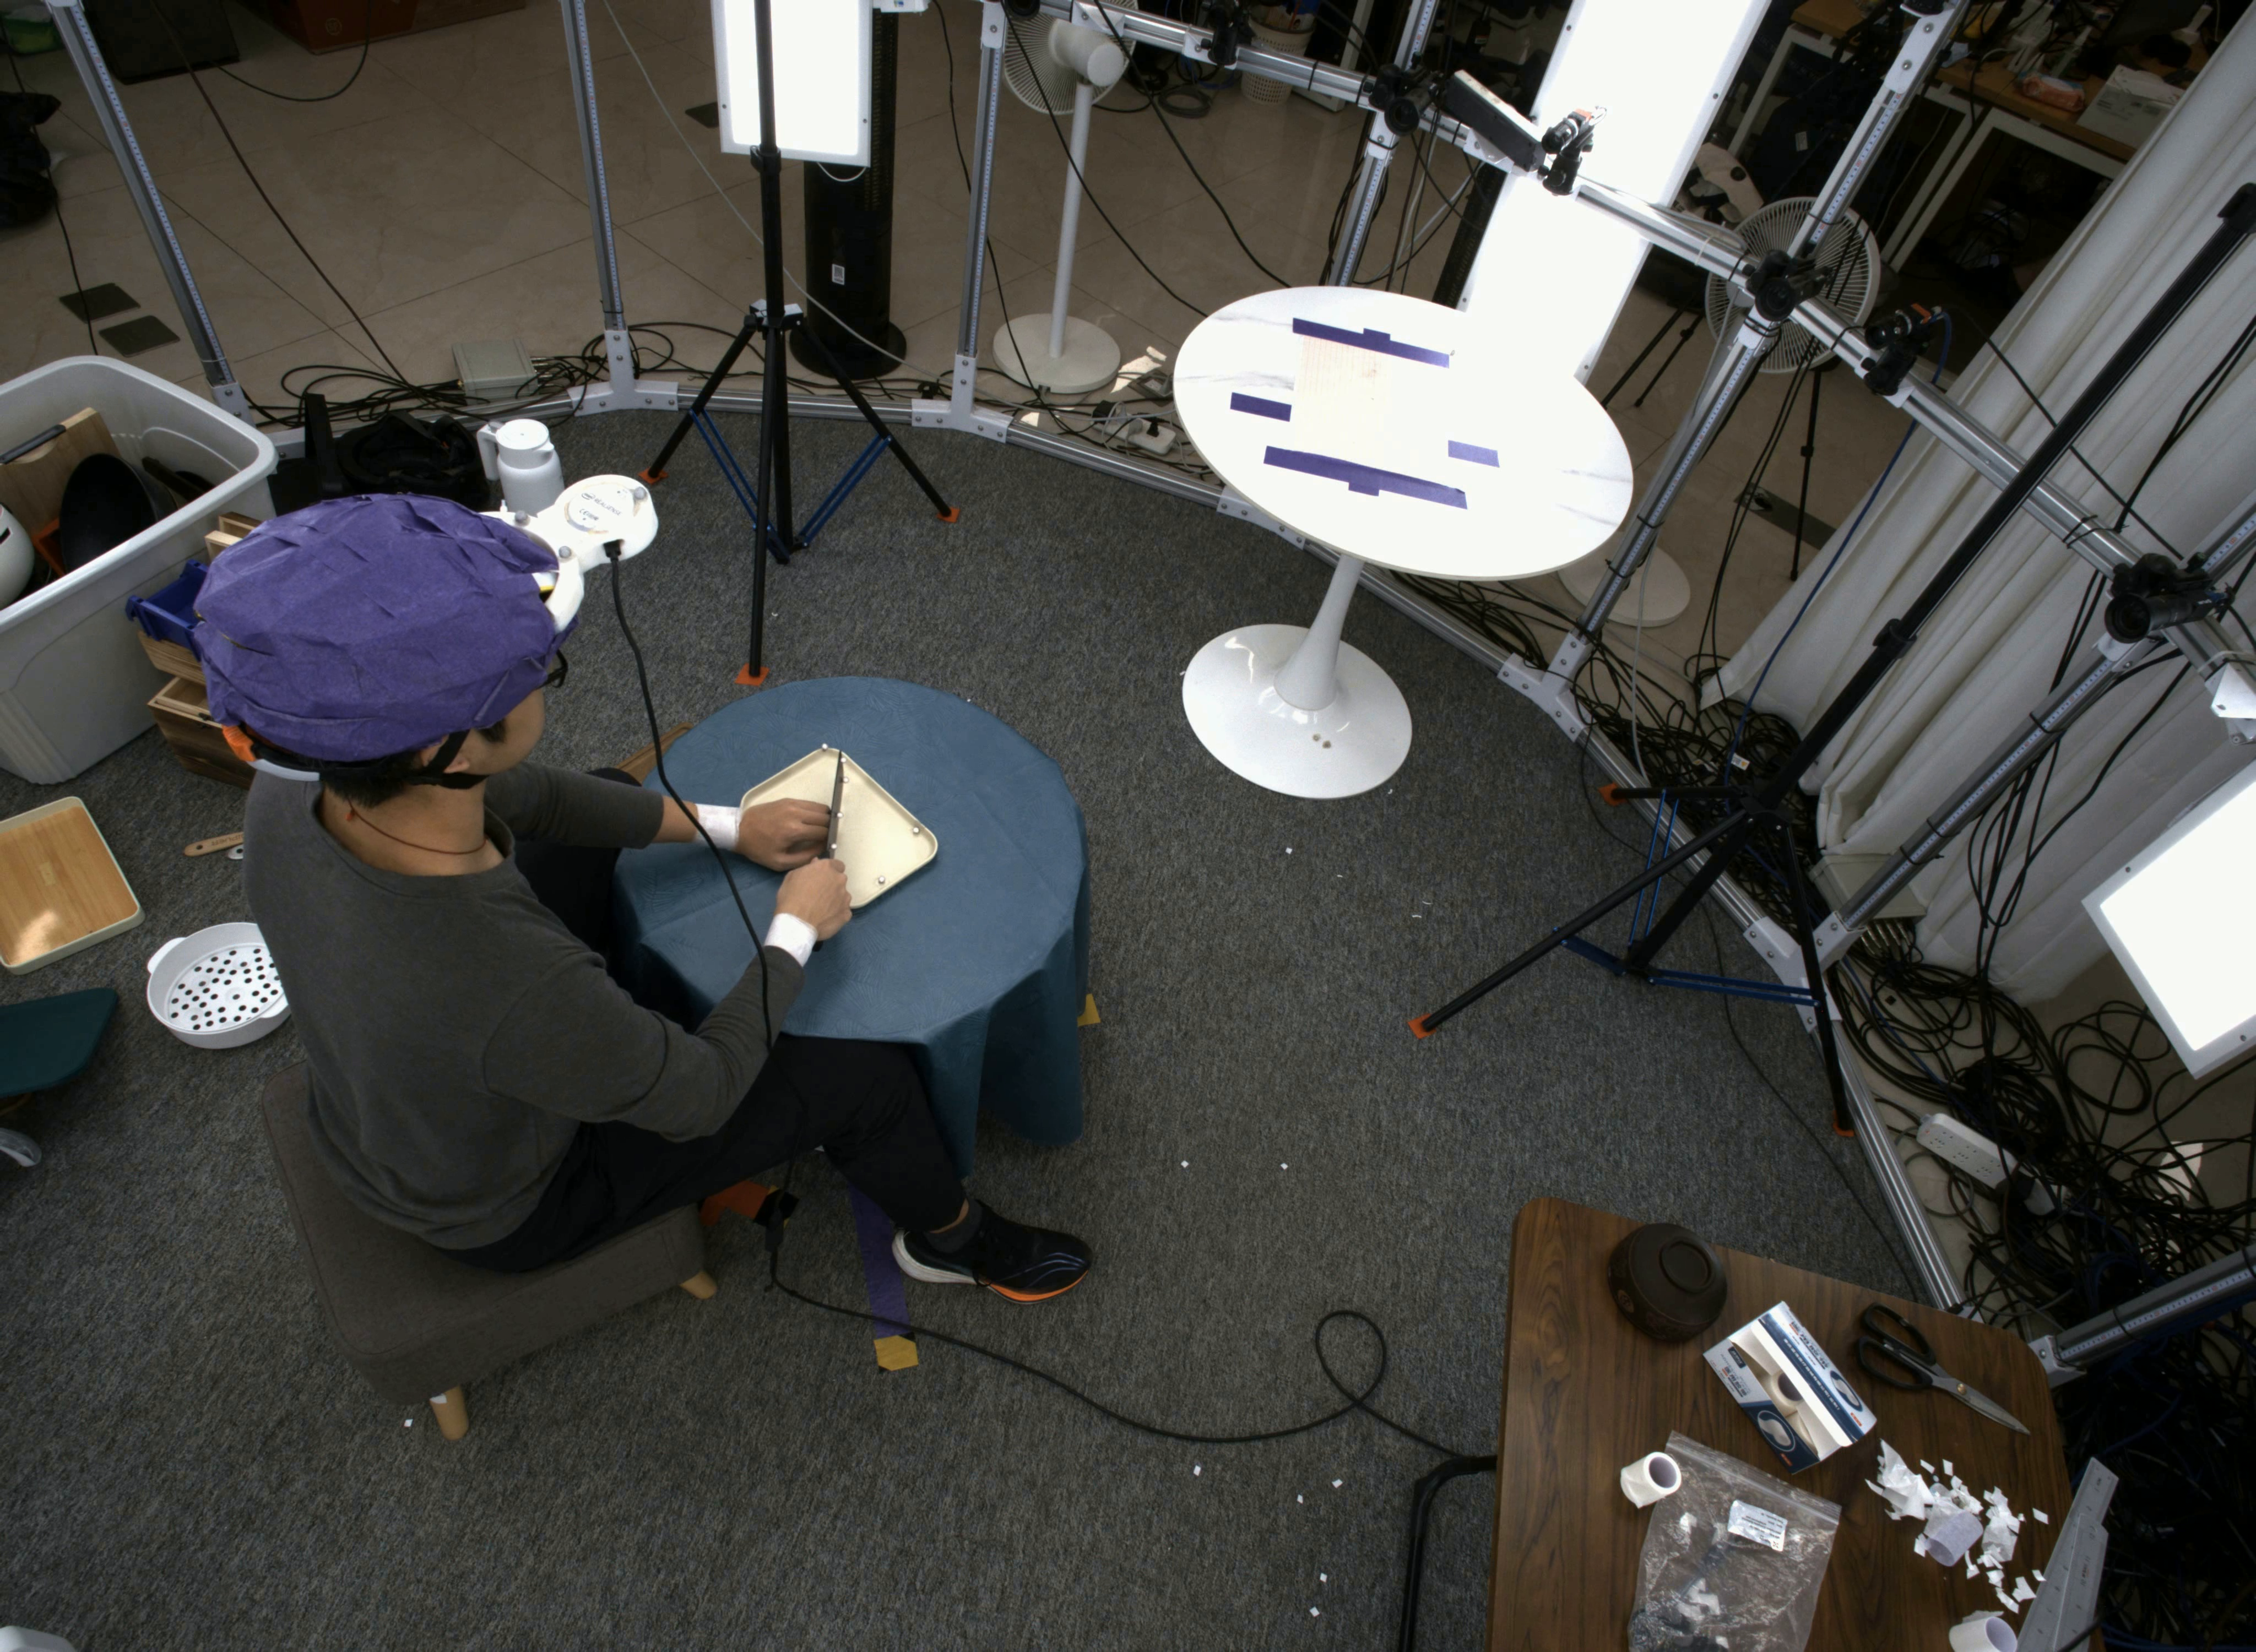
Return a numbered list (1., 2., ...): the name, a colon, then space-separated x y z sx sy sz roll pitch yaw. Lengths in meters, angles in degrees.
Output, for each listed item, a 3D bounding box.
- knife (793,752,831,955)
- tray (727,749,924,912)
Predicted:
1. knife: -0.398 0.034 1.654 0.021 0.083 0.296 0 48 -4
2. tray: -0.402 0.003 1.727 0.234 0.018 0.171 40 56 16
